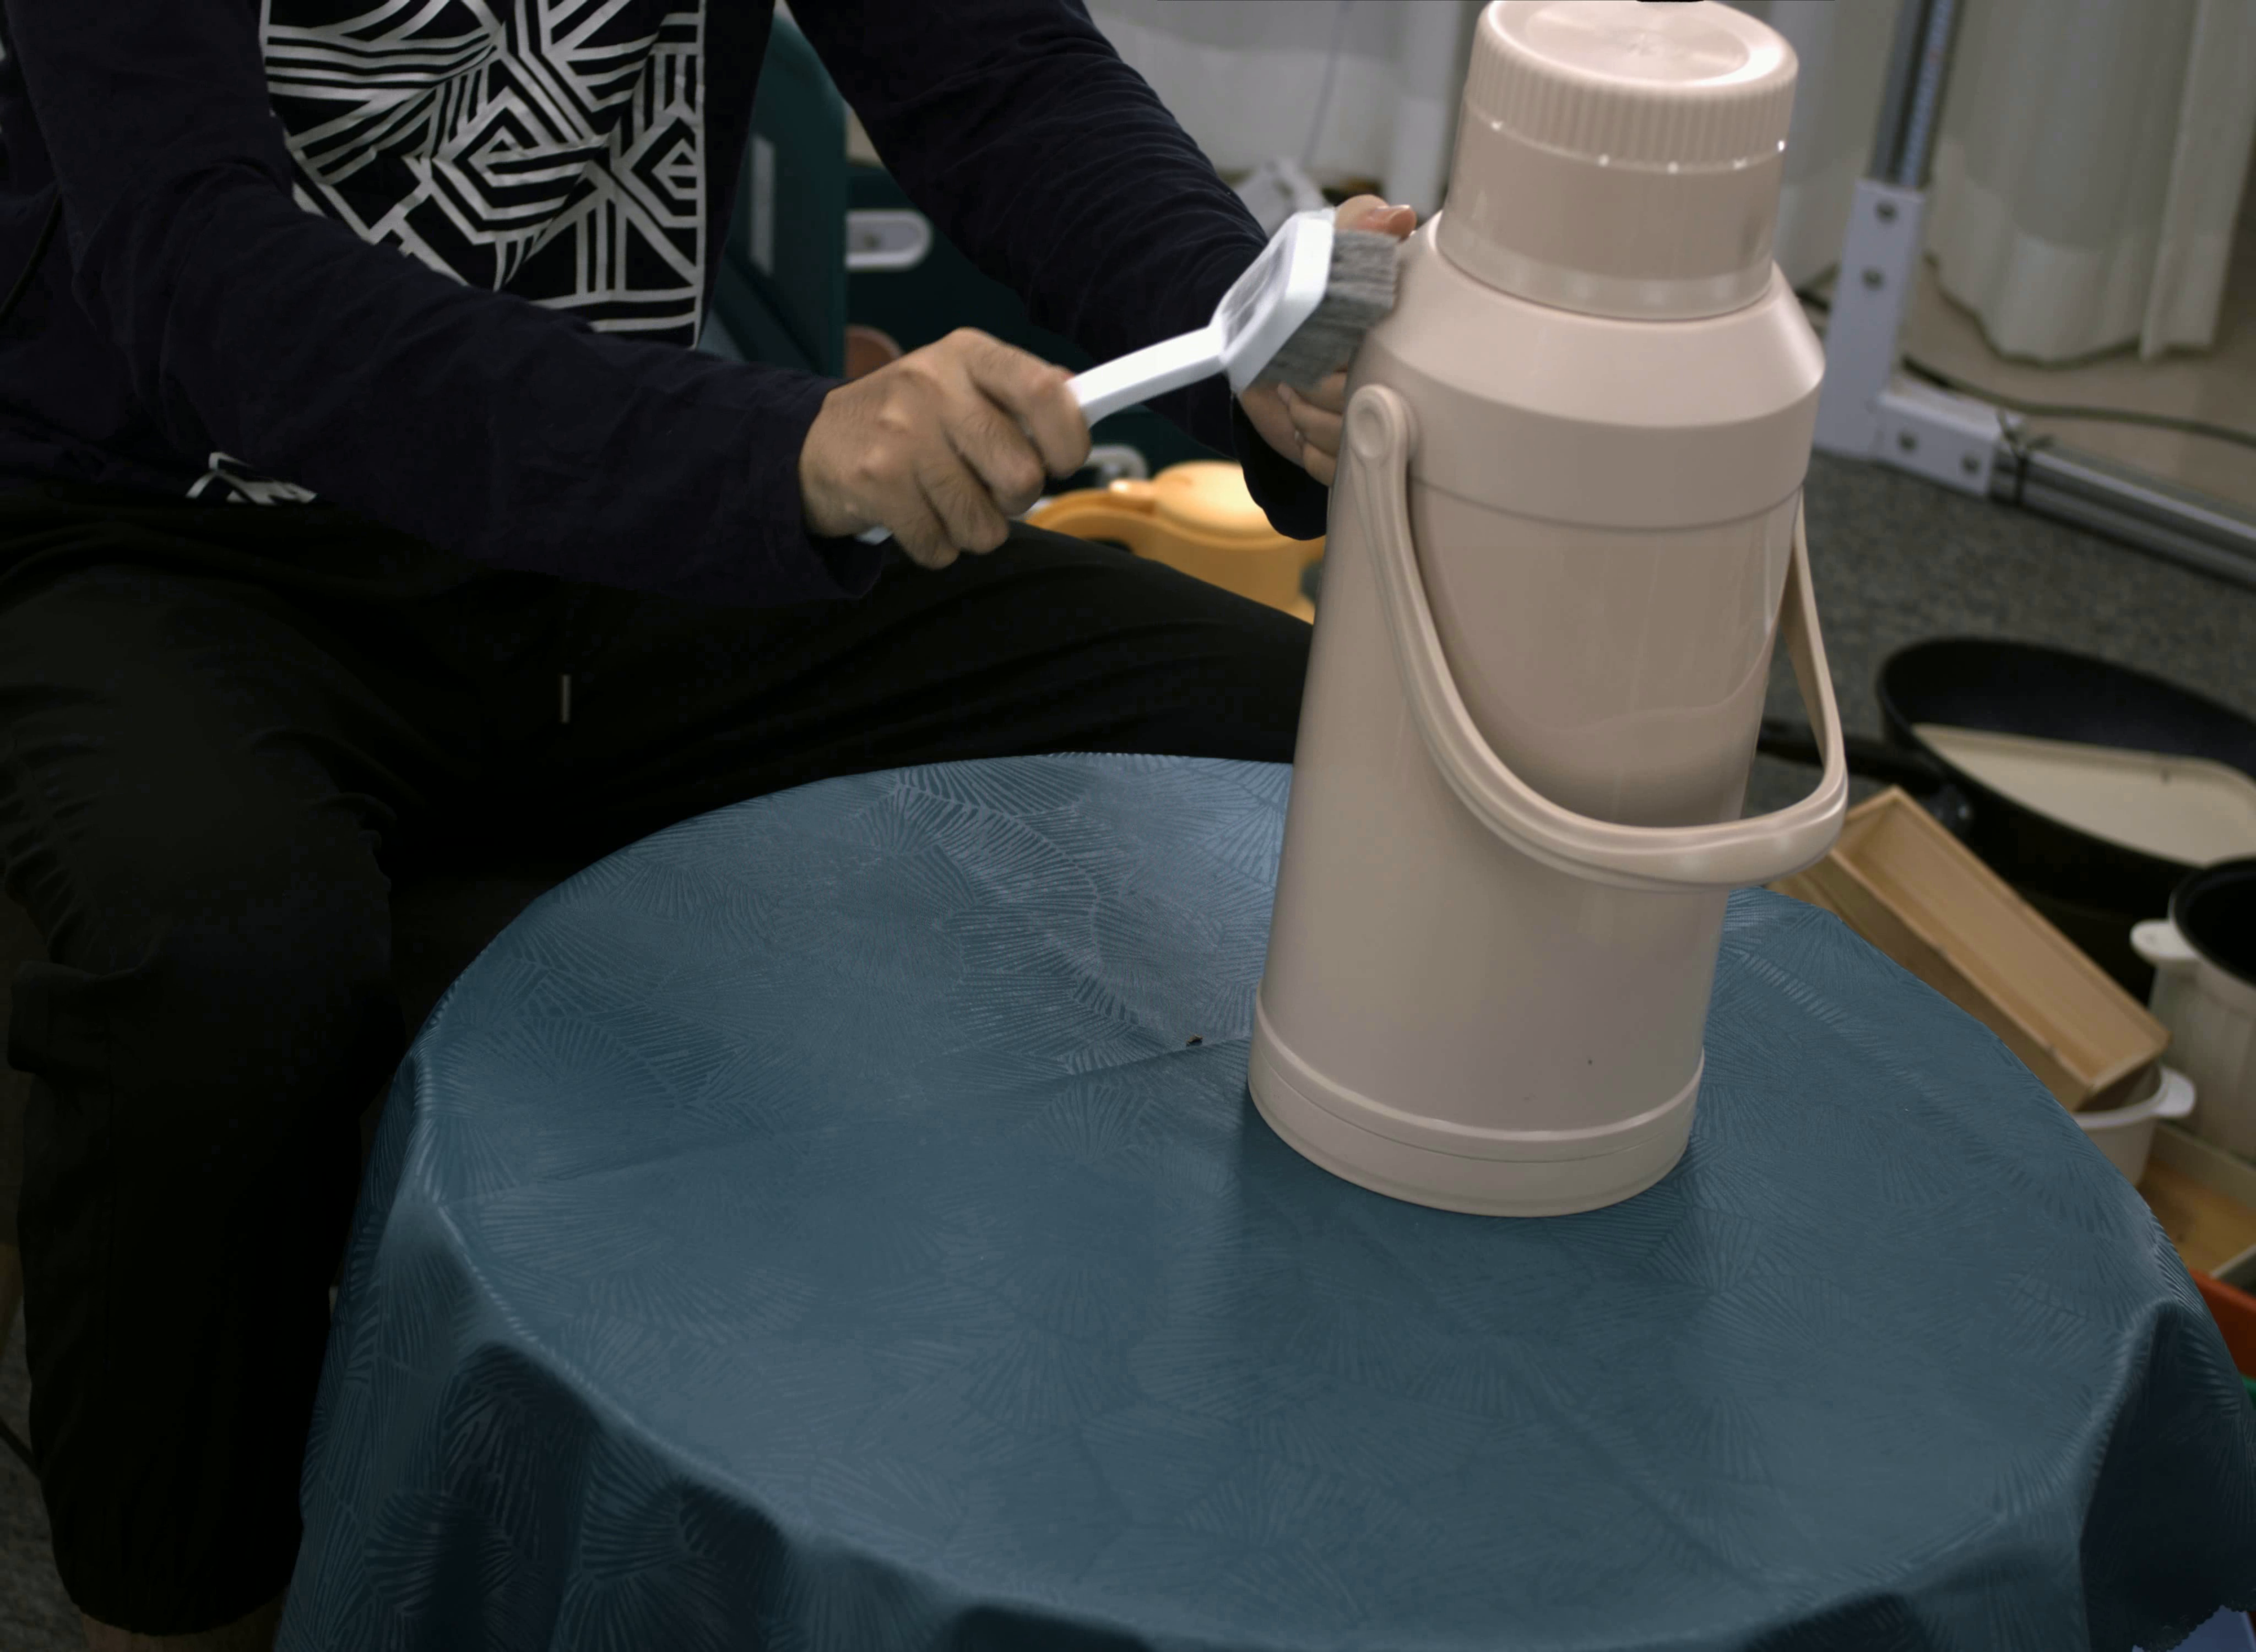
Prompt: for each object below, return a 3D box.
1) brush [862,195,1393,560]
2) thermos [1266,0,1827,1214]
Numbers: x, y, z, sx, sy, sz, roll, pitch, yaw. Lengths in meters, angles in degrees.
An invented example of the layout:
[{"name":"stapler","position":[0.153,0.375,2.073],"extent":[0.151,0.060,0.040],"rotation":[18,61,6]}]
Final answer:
[{"name":"brush","position":[0.001,-0.142,1.800],"extent":[0.050,0.244,0.034],"rotation":[23,51,-35]},{"name":"thermos","position":[0.137,-0.084,1.809],"extent":[0.174,0.405,0.209],"rotation":[-14,33,-32]}]
